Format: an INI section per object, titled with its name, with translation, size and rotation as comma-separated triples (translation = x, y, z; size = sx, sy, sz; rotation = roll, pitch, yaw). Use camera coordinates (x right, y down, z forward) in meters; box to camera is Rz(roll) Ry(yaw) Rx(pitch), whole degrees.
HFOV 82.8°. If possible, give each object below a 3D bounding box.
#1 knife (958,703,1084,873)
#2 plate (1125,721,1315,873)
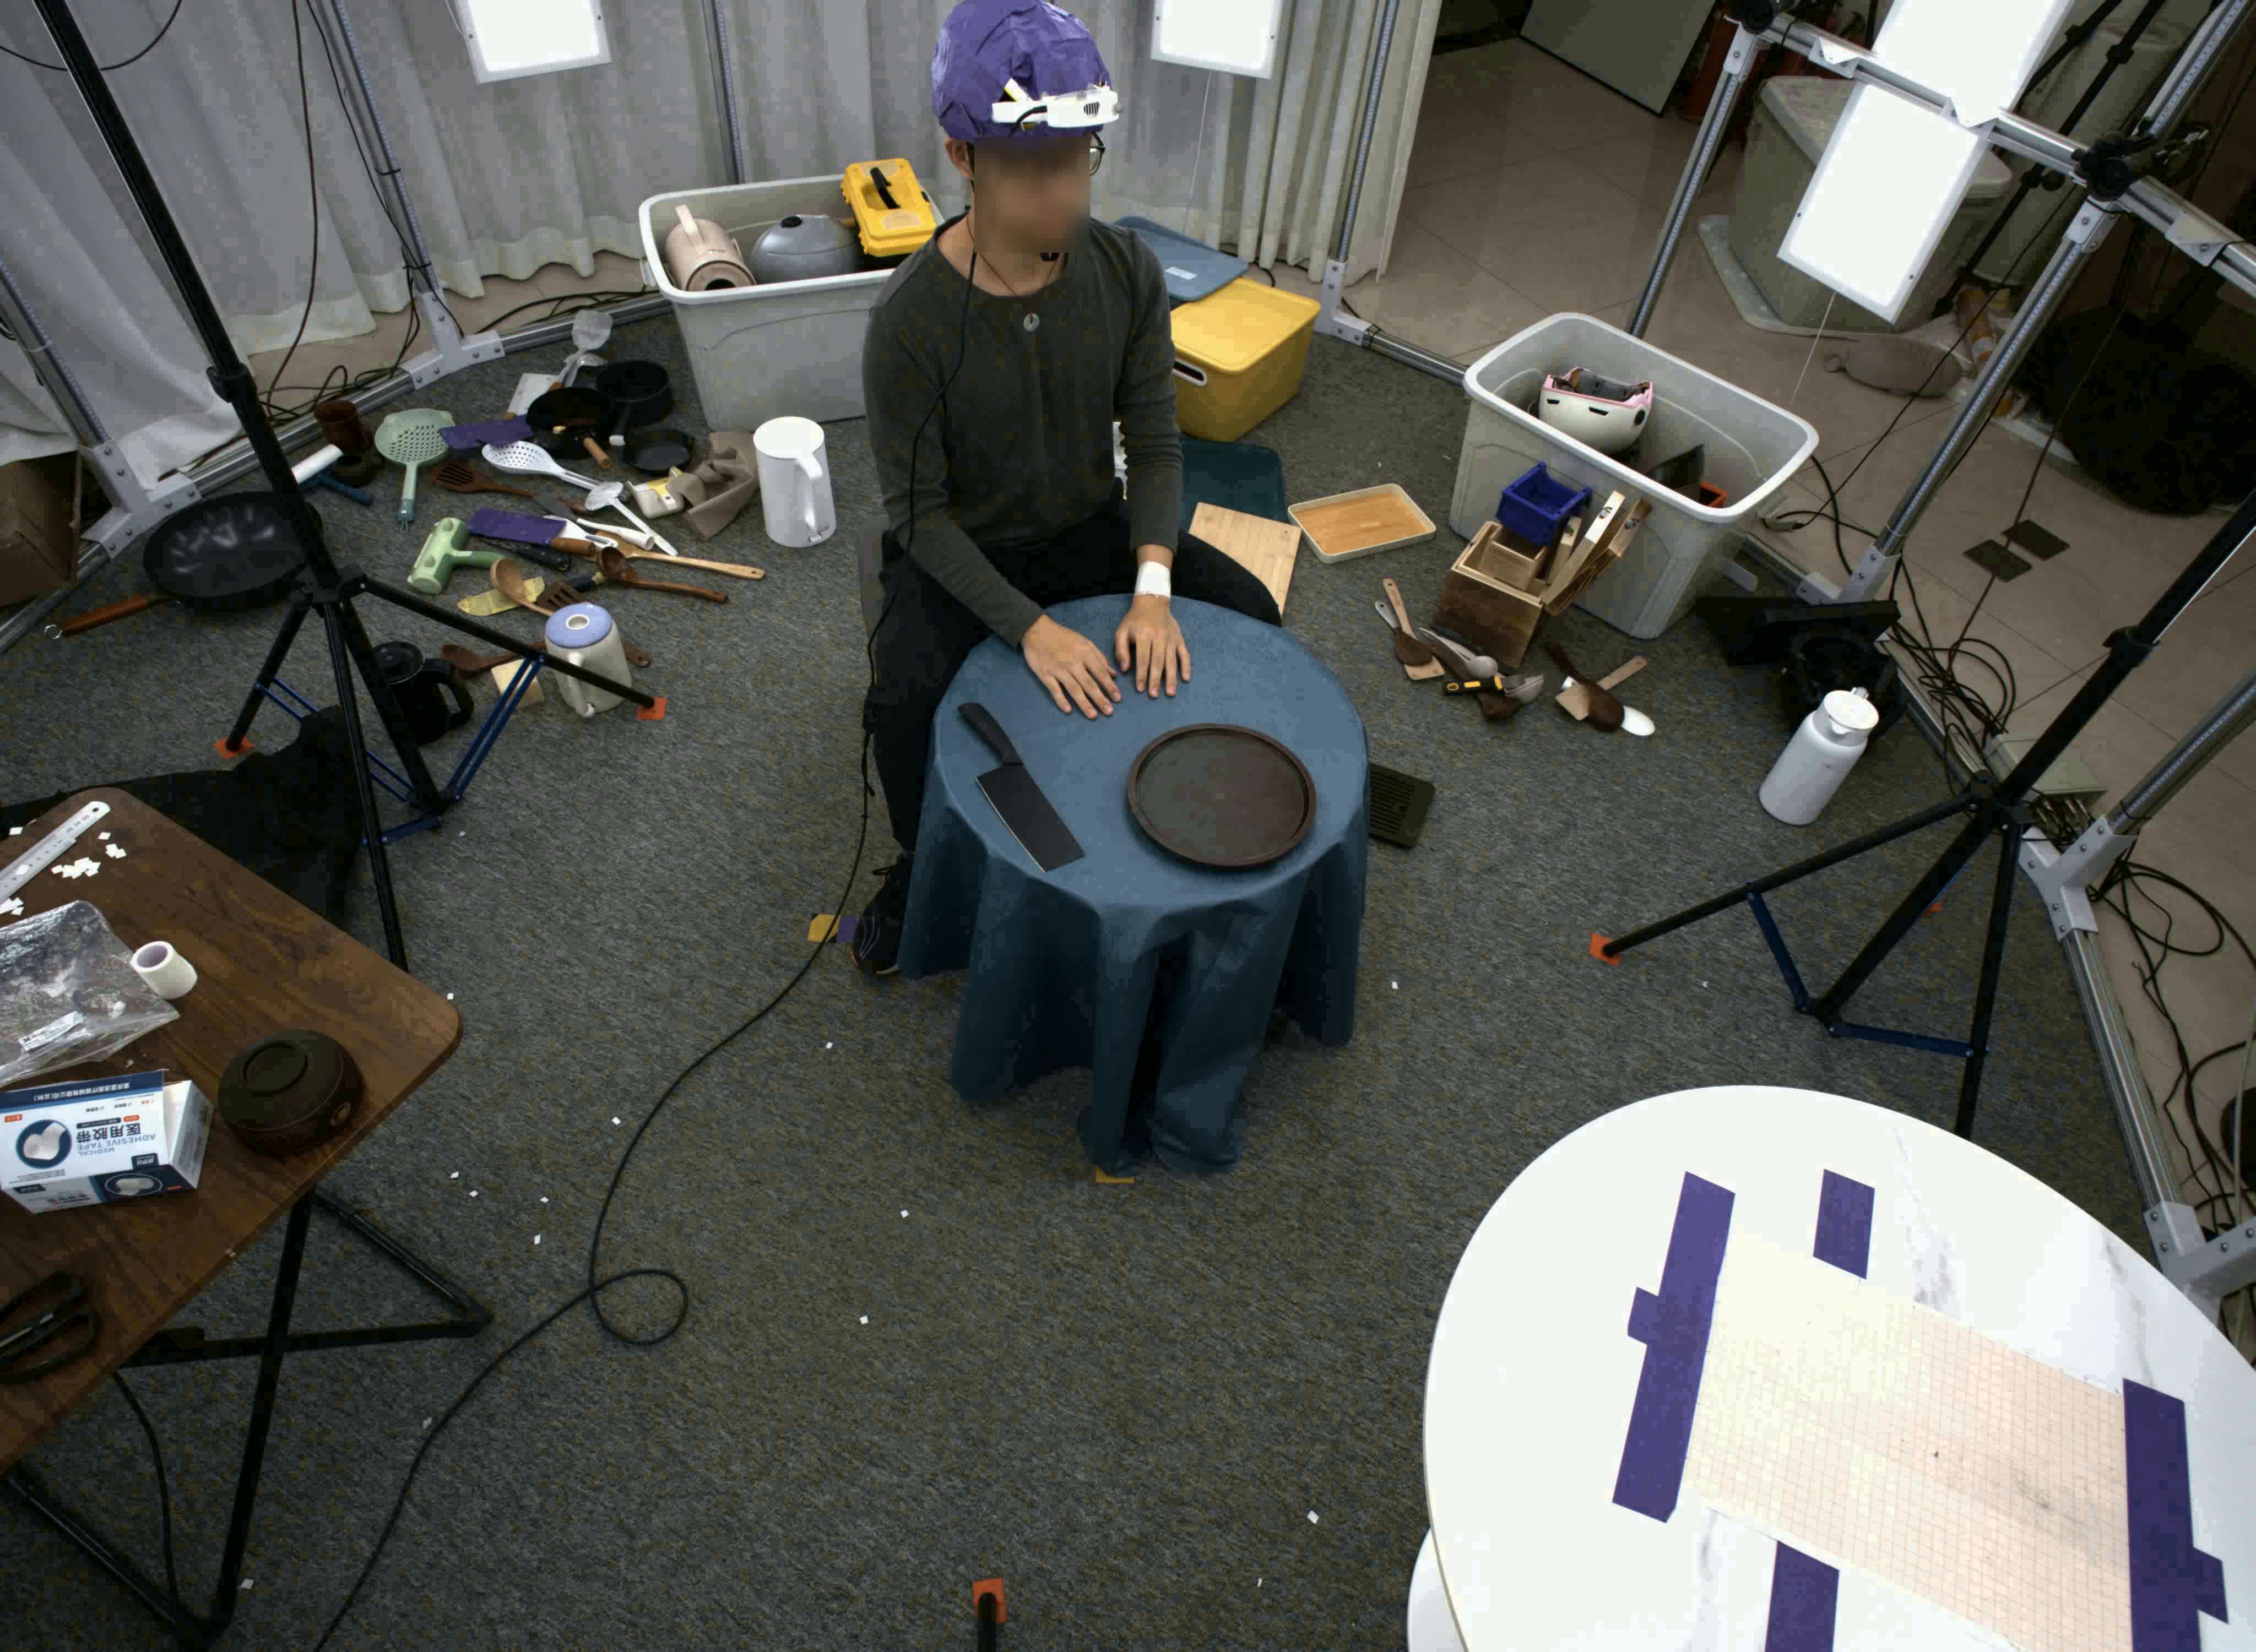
[knife]
translation = -0.155, -0.057, 1.698
size = 0.081, 0.020, 0.309
rotation = -19, 55, -18
[plate]
translation = 0.122, -0.040, 1.695
size = 0.254, 0.028, 0.261
rotation = 1, 50, -2
